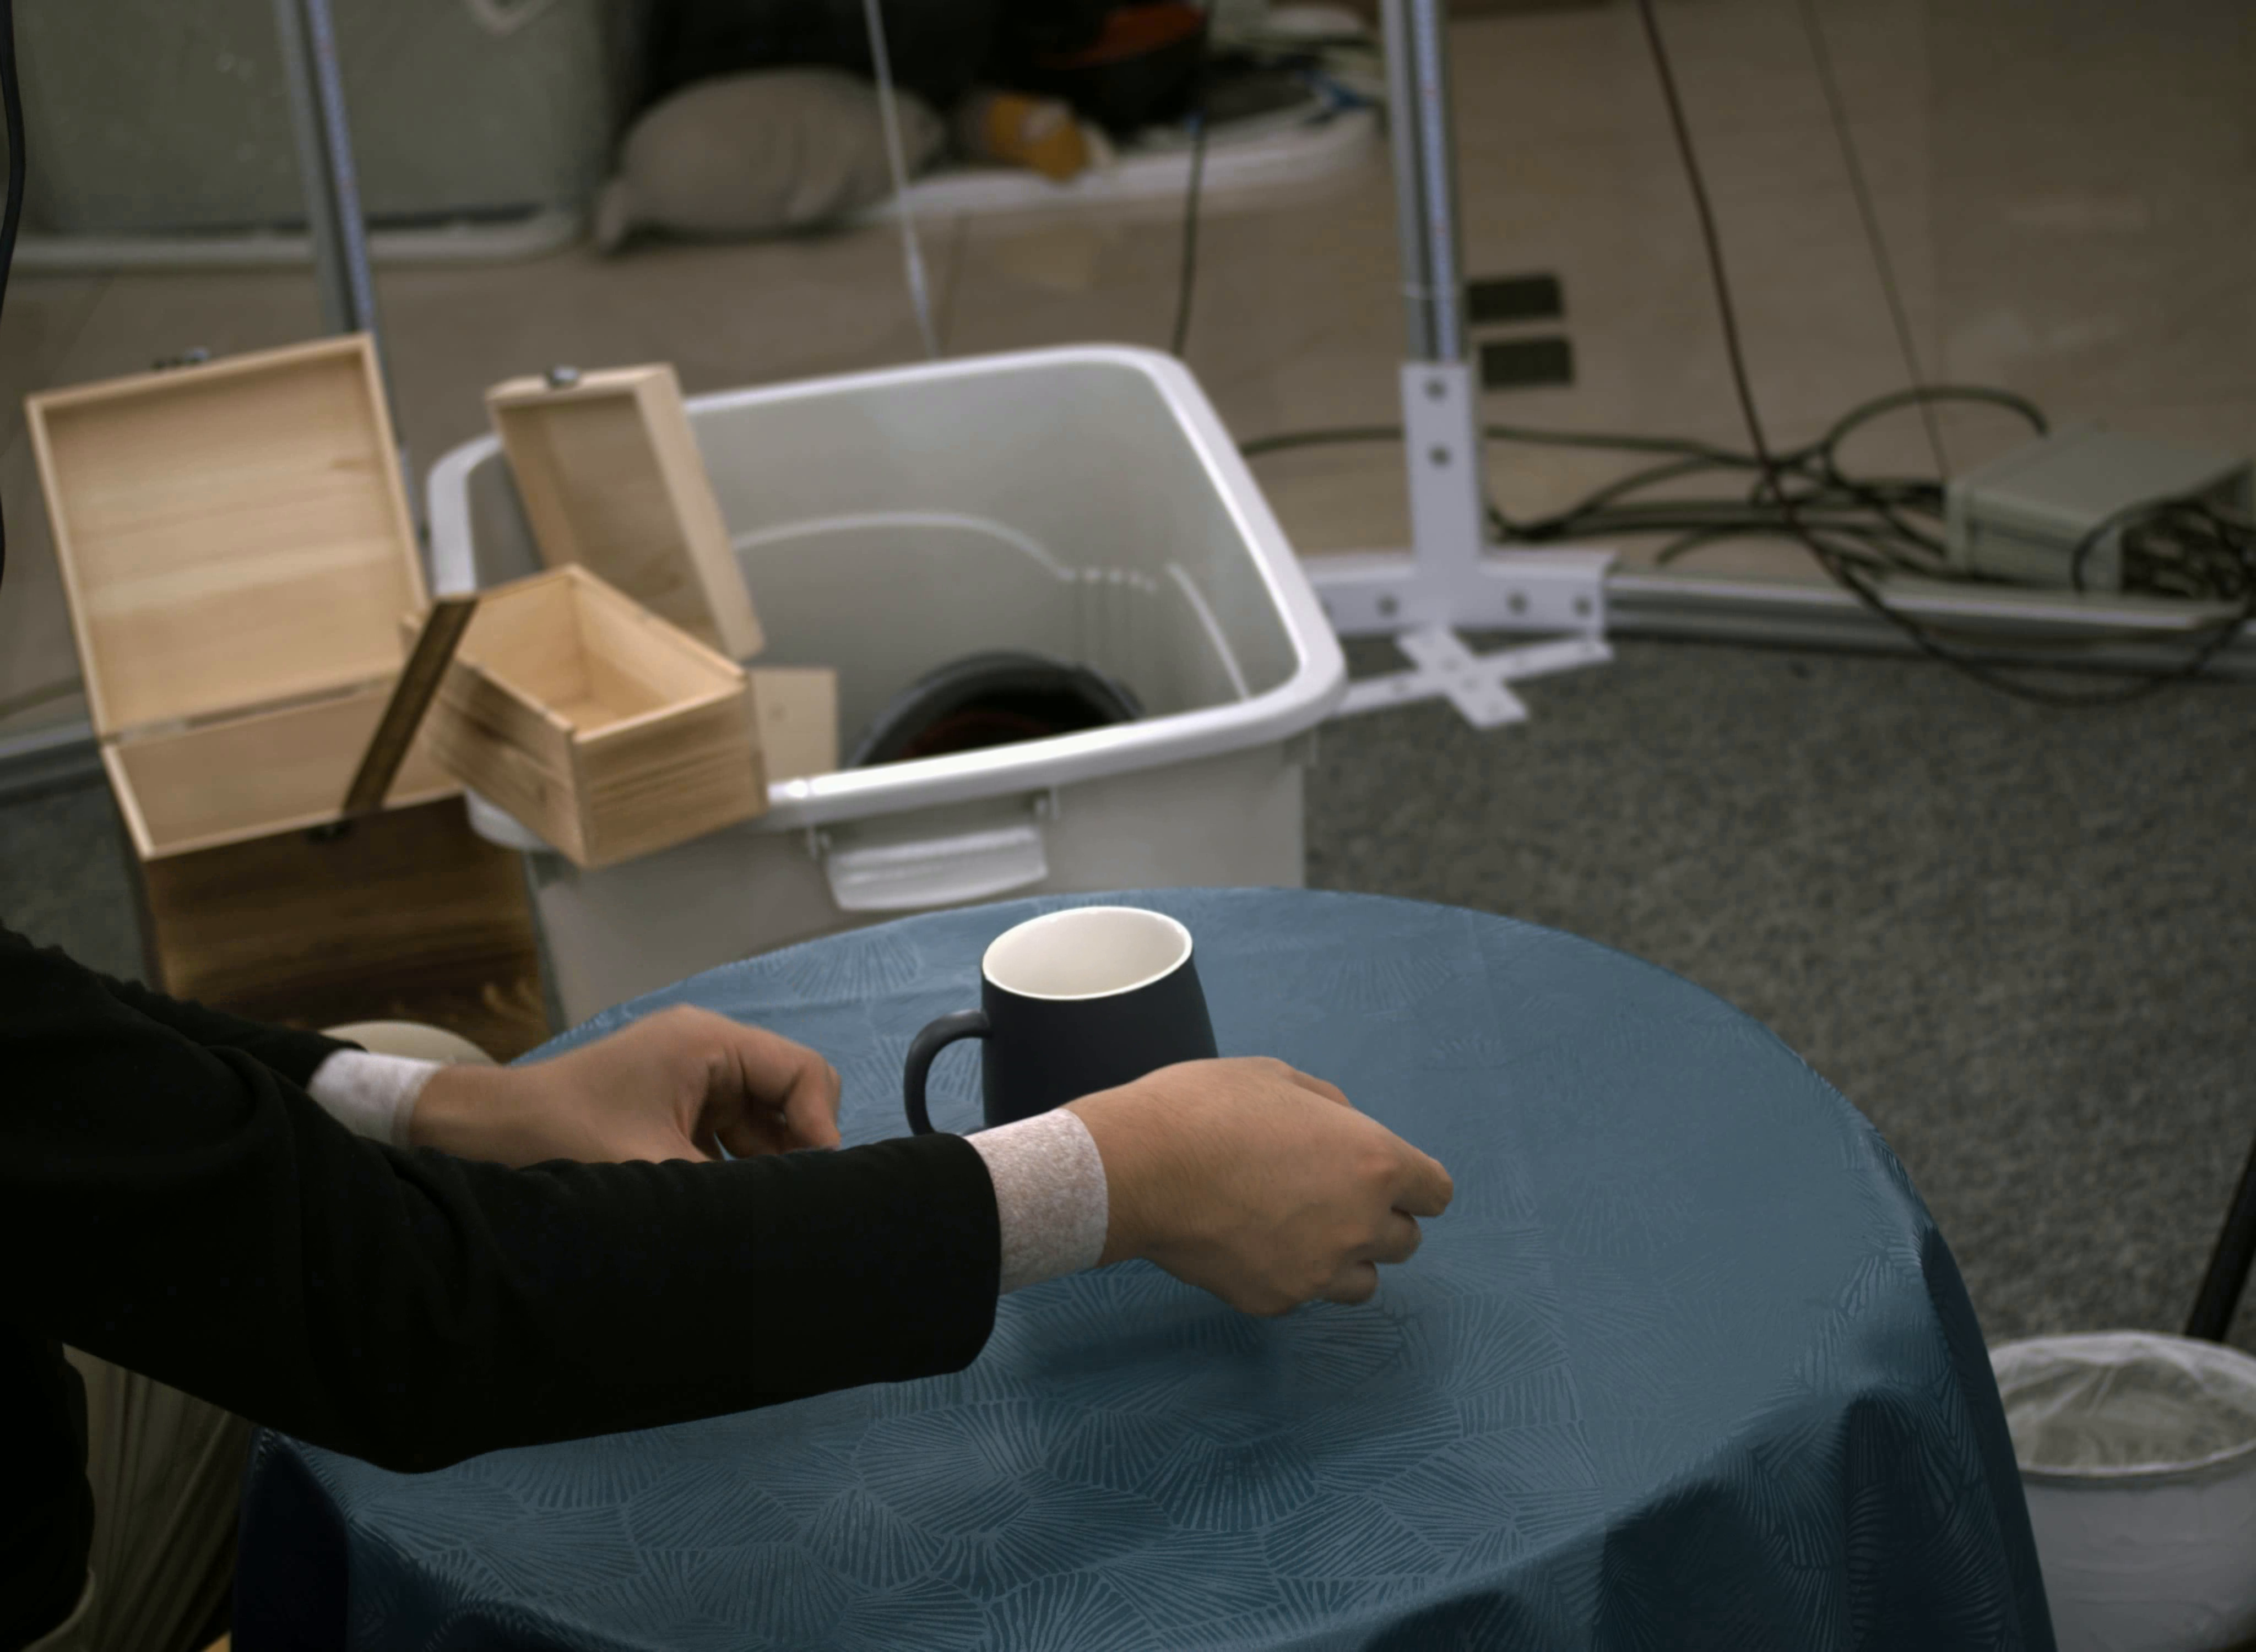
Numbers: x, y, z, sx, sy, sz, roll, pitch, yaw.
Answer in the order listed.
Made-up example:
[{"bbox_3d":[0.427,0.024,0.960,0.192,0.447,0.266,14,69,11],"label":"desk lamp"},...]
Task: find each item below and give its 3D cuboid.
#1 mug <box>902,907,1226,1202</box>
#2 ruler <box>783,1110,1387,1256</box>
[{"bbox_3d":[-0.026,0.089,2.149,0.123,0.091,0.092,-11,25,-12],"label":"mug"},{"bbox_3d":[-0.016,0.121,2.033,0.217,0.024,0.038,-9,24,-10],"label":"ruler"}]
